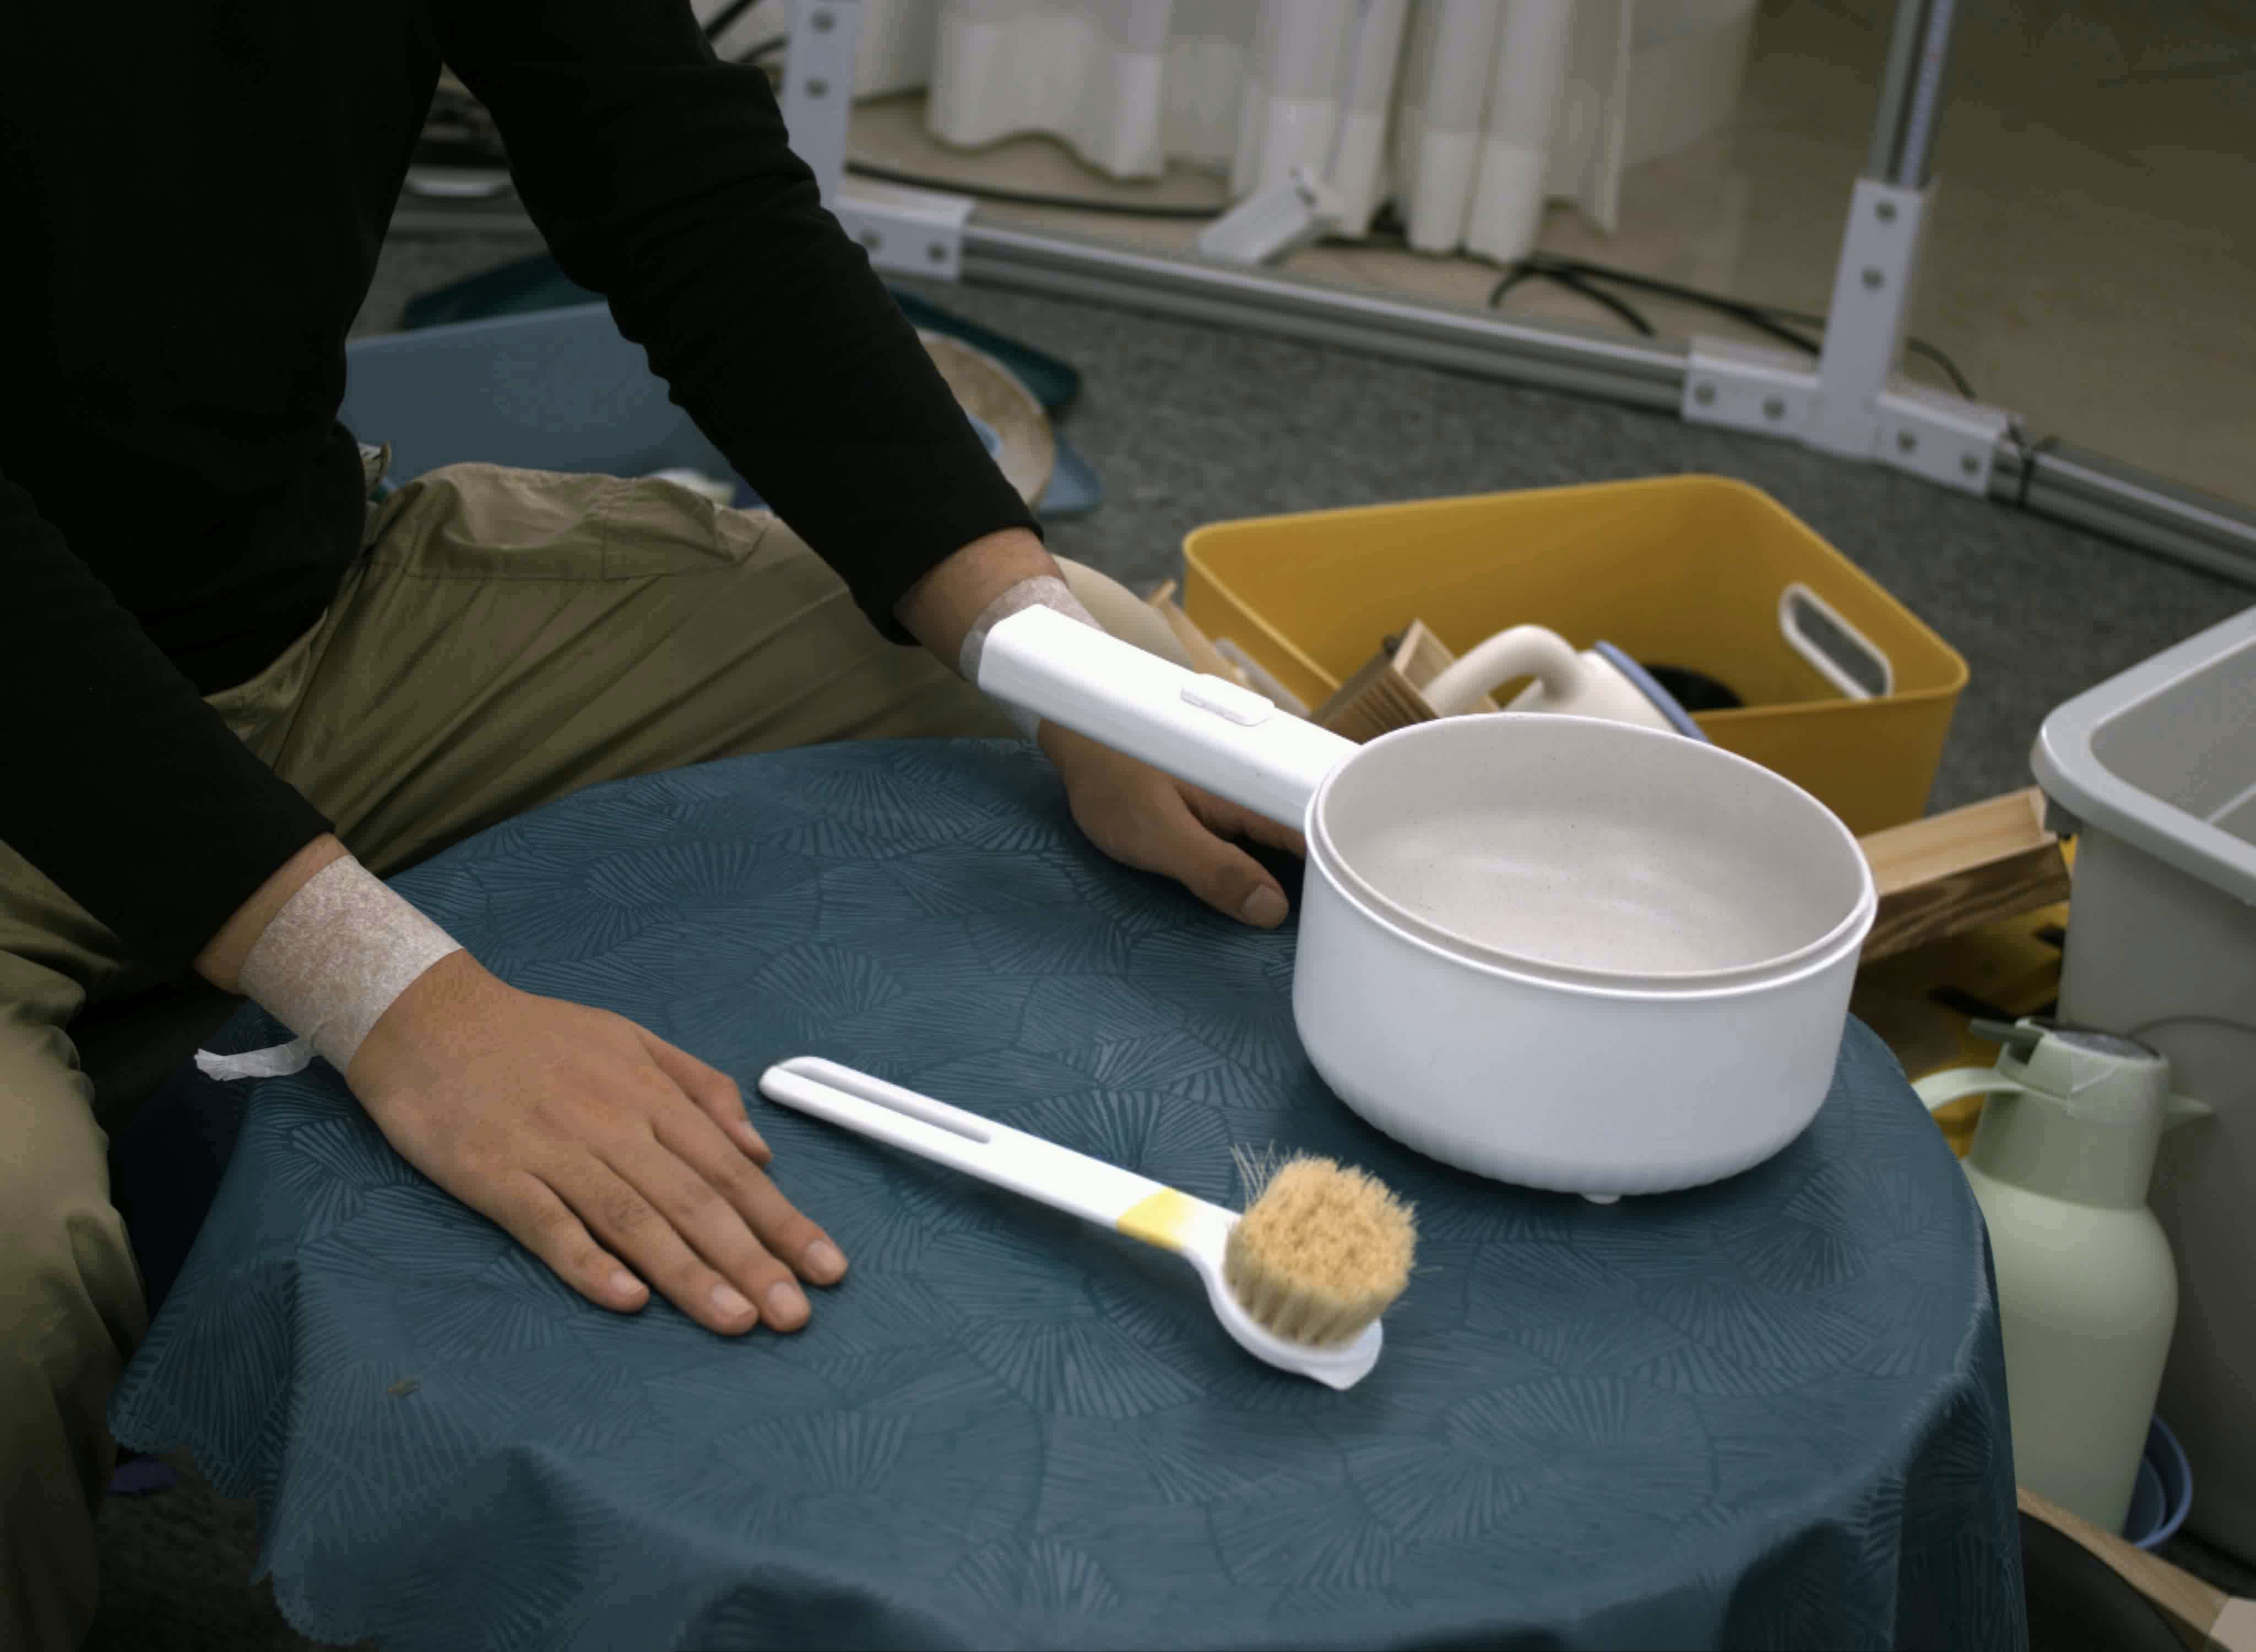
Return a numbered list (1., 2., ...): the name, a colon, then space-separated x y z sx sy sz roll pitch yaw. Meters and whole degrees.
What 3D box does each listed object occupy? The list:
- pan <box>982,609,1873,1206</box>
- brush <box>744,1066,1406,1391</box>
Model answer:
1. pan: 0.094 0.024 1.912 0.357 0.102 0.200 23 32 30
2. brush: -0.024 0.111 1.763 0.268 0.056 0.068 24 27 33
